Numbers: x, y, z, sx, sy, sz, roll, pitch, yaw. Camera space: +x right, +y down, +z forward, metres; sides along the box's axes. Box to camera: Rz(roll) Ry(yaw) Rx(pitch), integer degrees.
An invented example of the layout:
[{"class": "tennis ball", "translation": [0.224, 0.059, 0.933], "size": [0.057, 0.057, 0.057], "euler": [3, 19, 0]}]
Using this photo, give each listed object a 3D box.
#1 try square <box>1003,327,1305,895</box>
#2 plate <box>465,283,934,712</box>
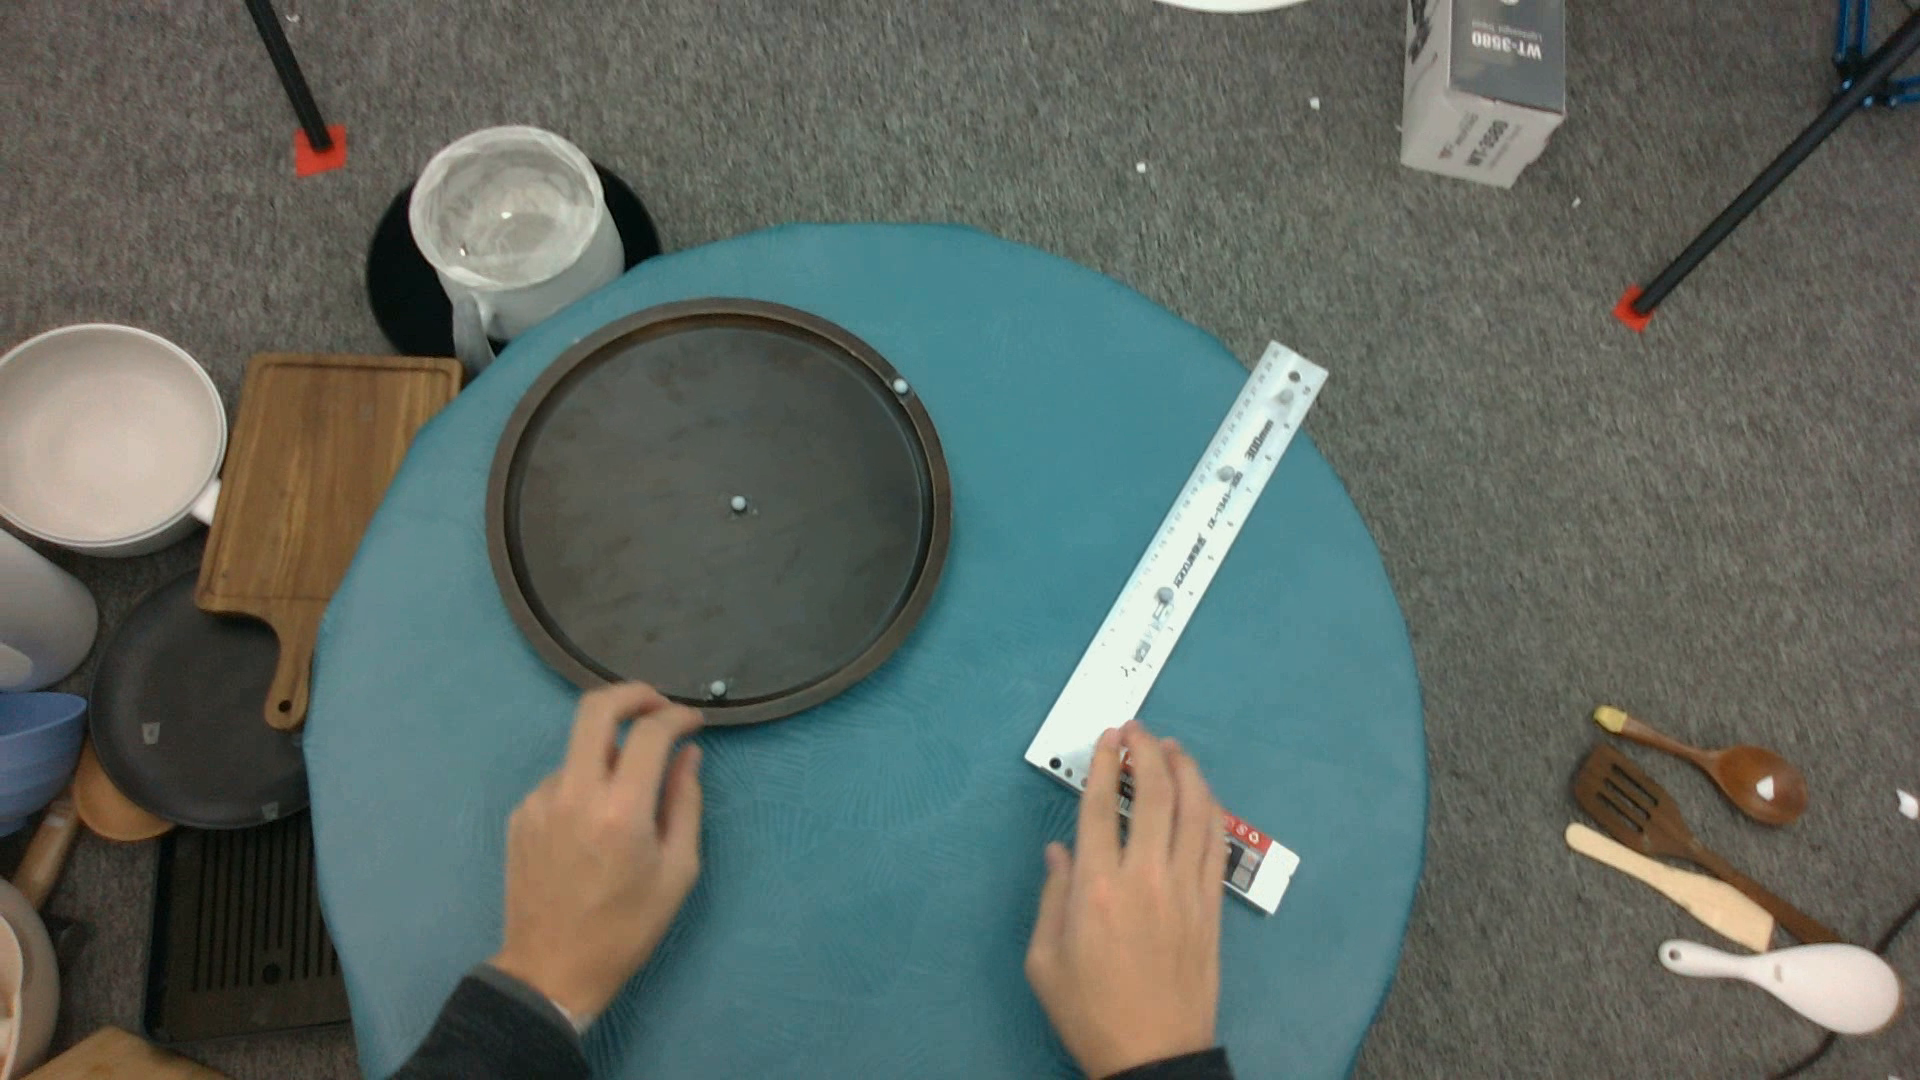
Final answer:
[{"class": "try square", "translation": [0.164, 0.028, 0.788], "size": [0.152, 0.016, 0.314], "euler": [31, 68, 4]}, {"class": "plate", "translation": [-0.141, -0.027, 0.762], "size": [0.255, 0.029, 0.255], "euler": [3, 68, -7]}]
